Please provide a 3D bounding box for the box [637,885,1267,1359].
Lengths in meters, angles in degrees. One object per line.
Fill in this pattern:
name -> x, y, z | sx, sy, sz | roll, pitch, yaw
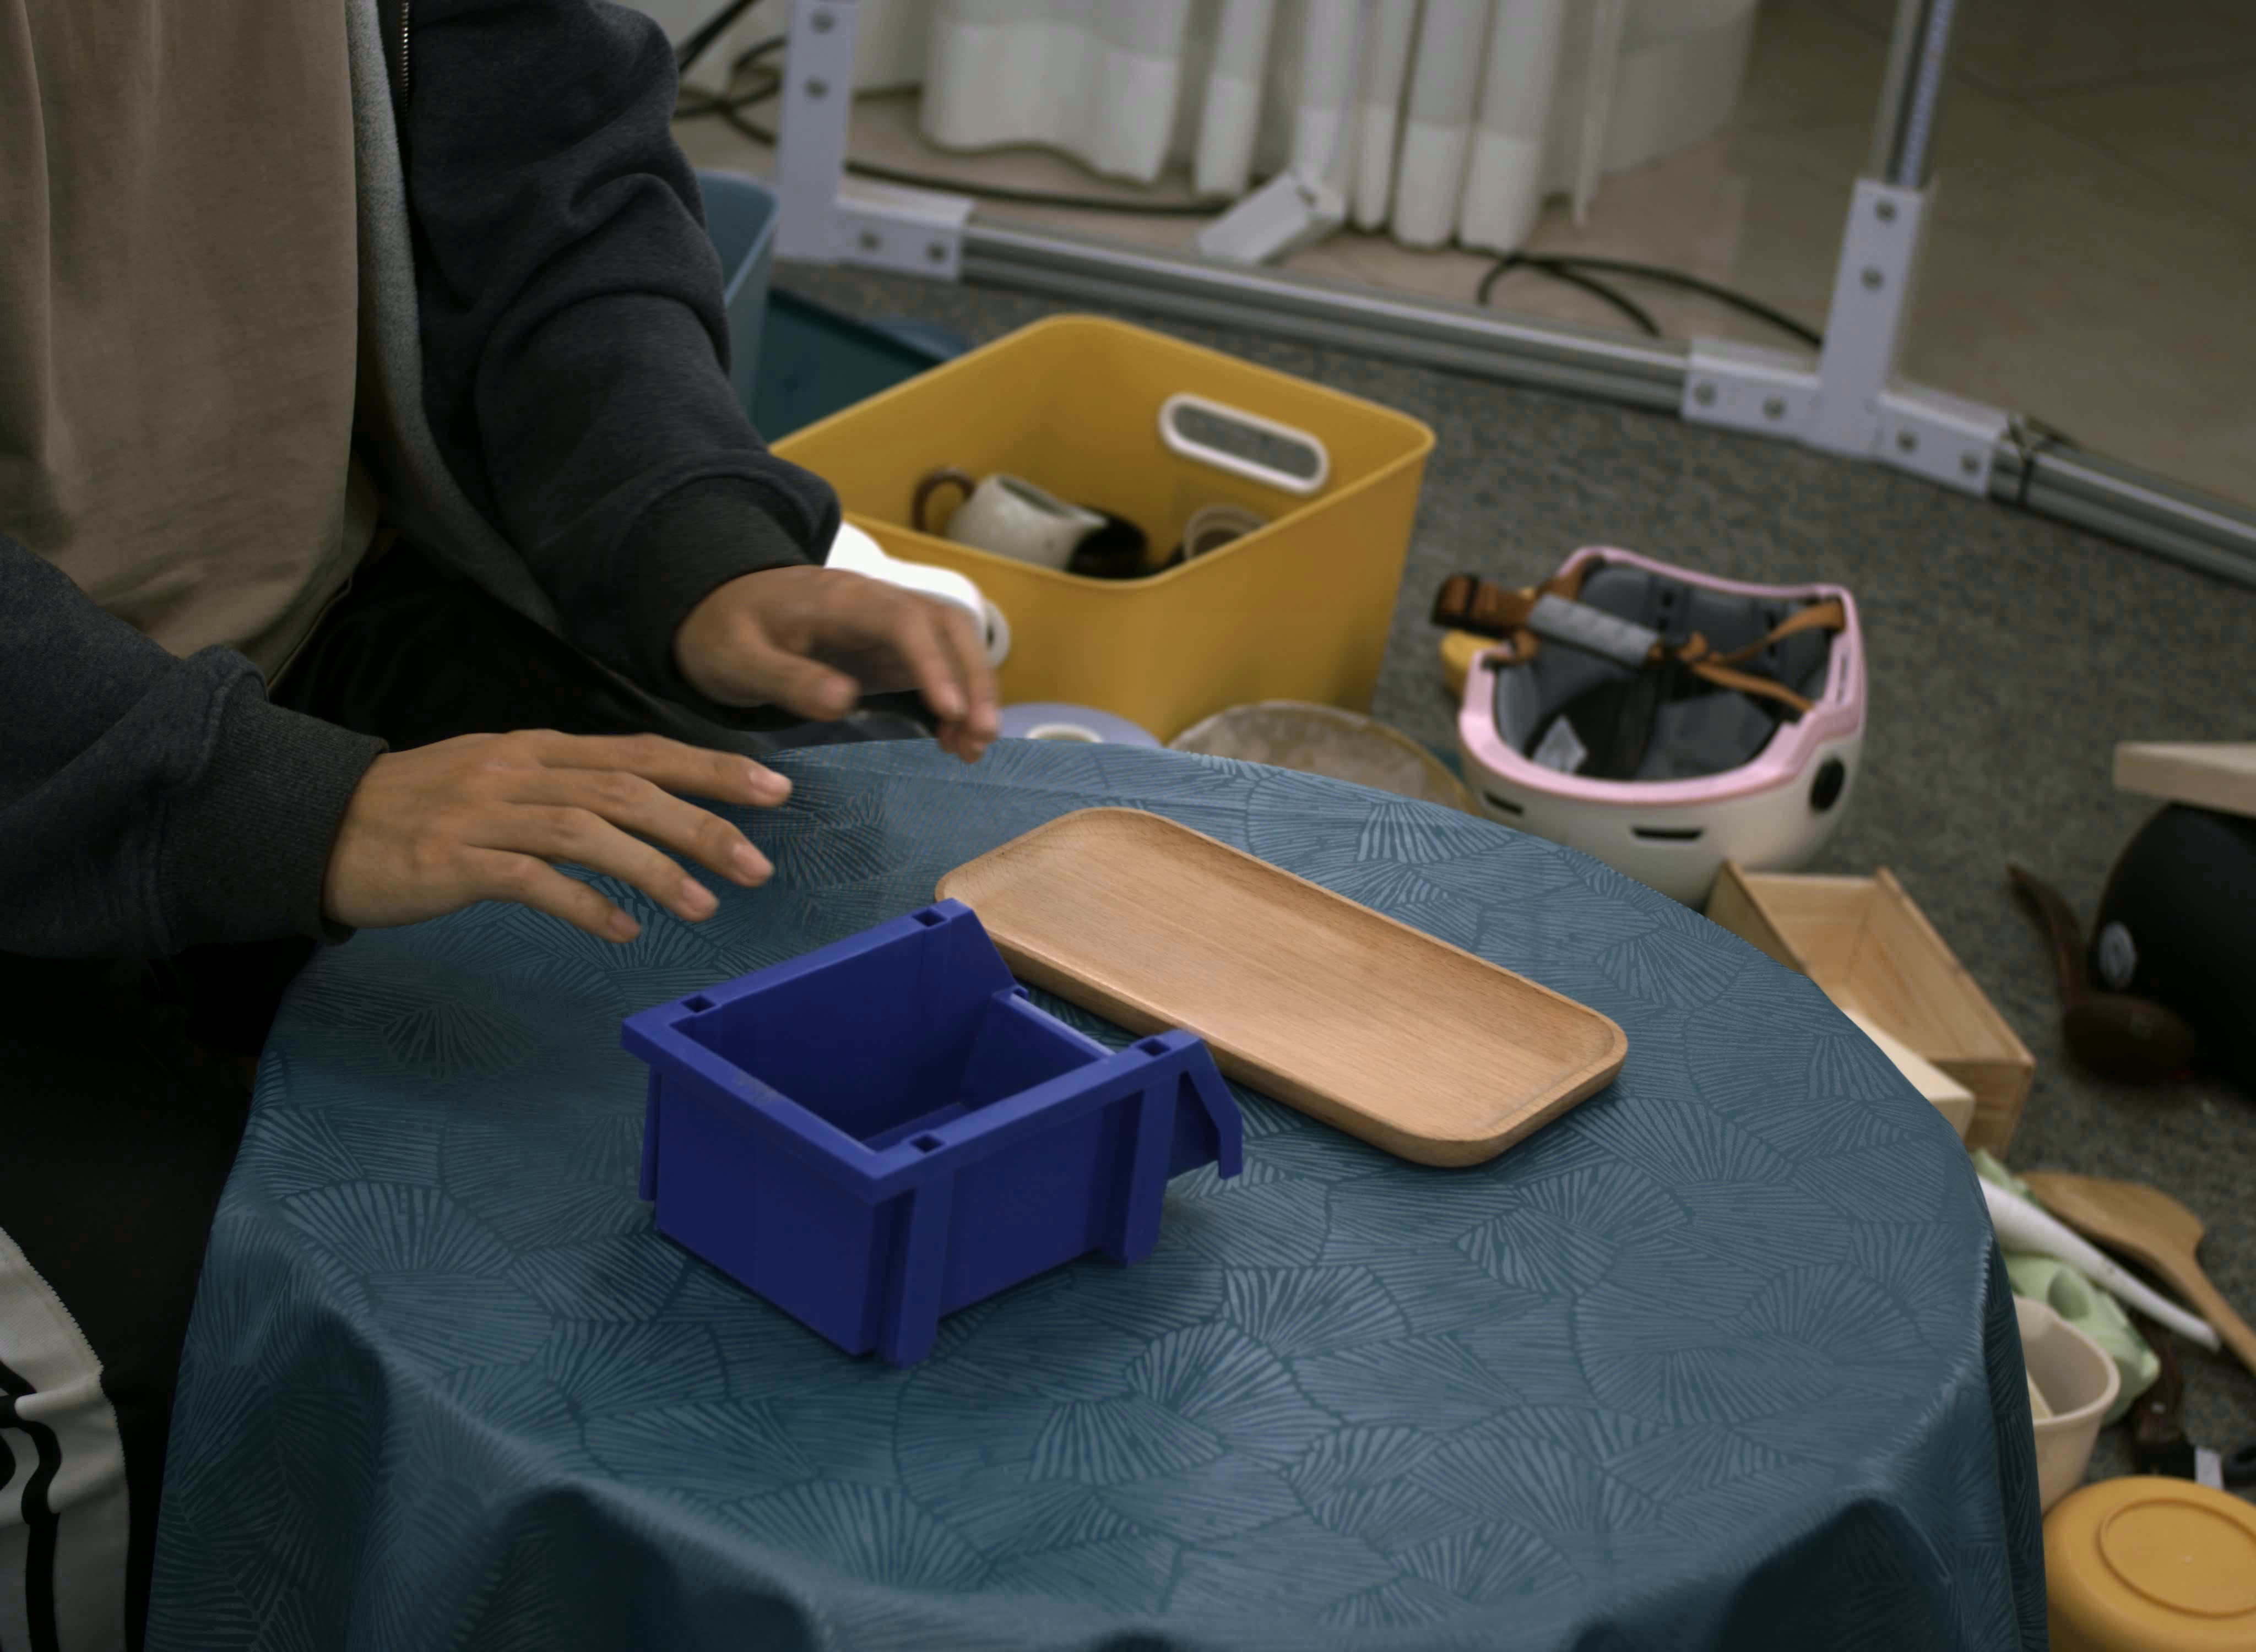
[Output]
box -> -0.058, 0.093, 1.759 | 0.178, 0.081, 0.125 | -22, 38, -38

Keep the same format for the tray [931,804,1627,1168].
tray -> 0.052, 0.056, 1.927 | 0.252, 0.023, 0.130 | 24, 29, 32
